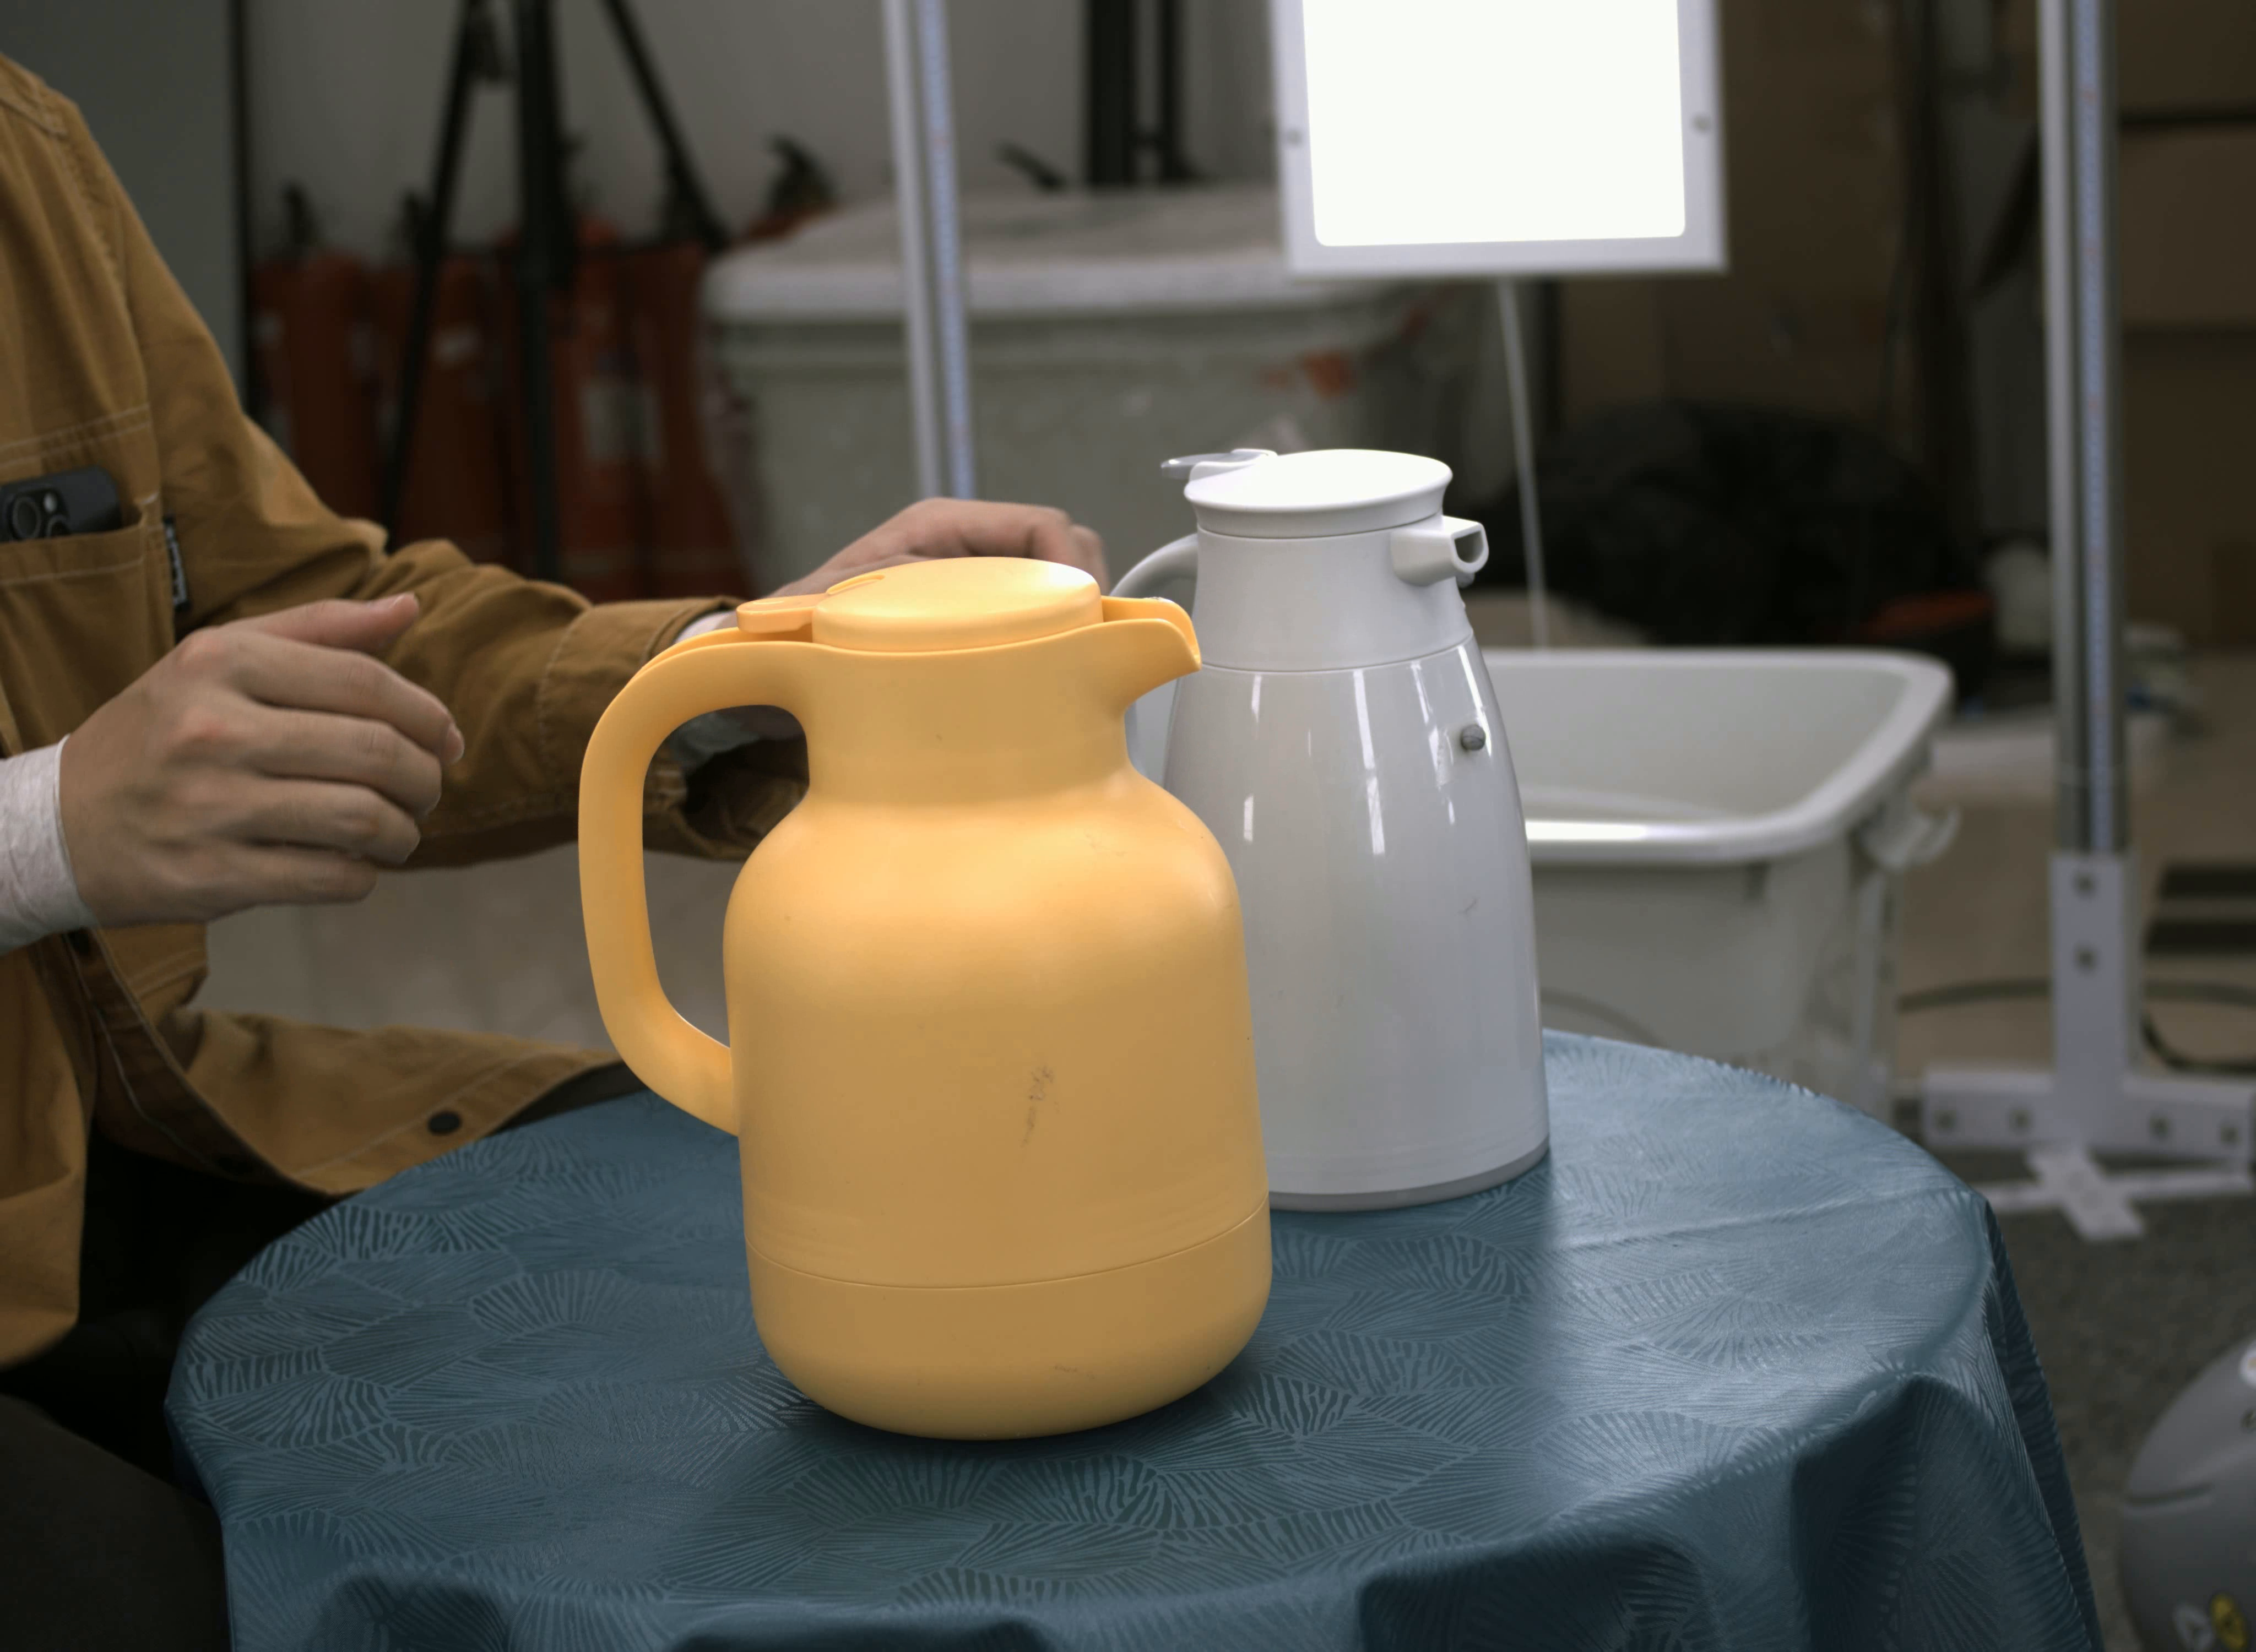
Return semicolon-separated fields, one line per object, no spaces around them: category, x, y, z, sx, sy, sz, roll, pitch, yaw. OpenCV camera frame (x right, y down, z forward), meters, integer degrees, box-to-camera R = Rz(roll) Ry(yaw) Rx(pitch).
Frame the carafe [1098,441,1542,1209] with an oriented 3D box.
carafe;0.056;-0.008;1.899;0.171;0.249;0.129;7;17;39

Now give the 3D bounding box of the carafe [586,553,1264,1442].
carafe;-0.062;0.049;1.694;0.203;0.261;0.162;-1;12;10
